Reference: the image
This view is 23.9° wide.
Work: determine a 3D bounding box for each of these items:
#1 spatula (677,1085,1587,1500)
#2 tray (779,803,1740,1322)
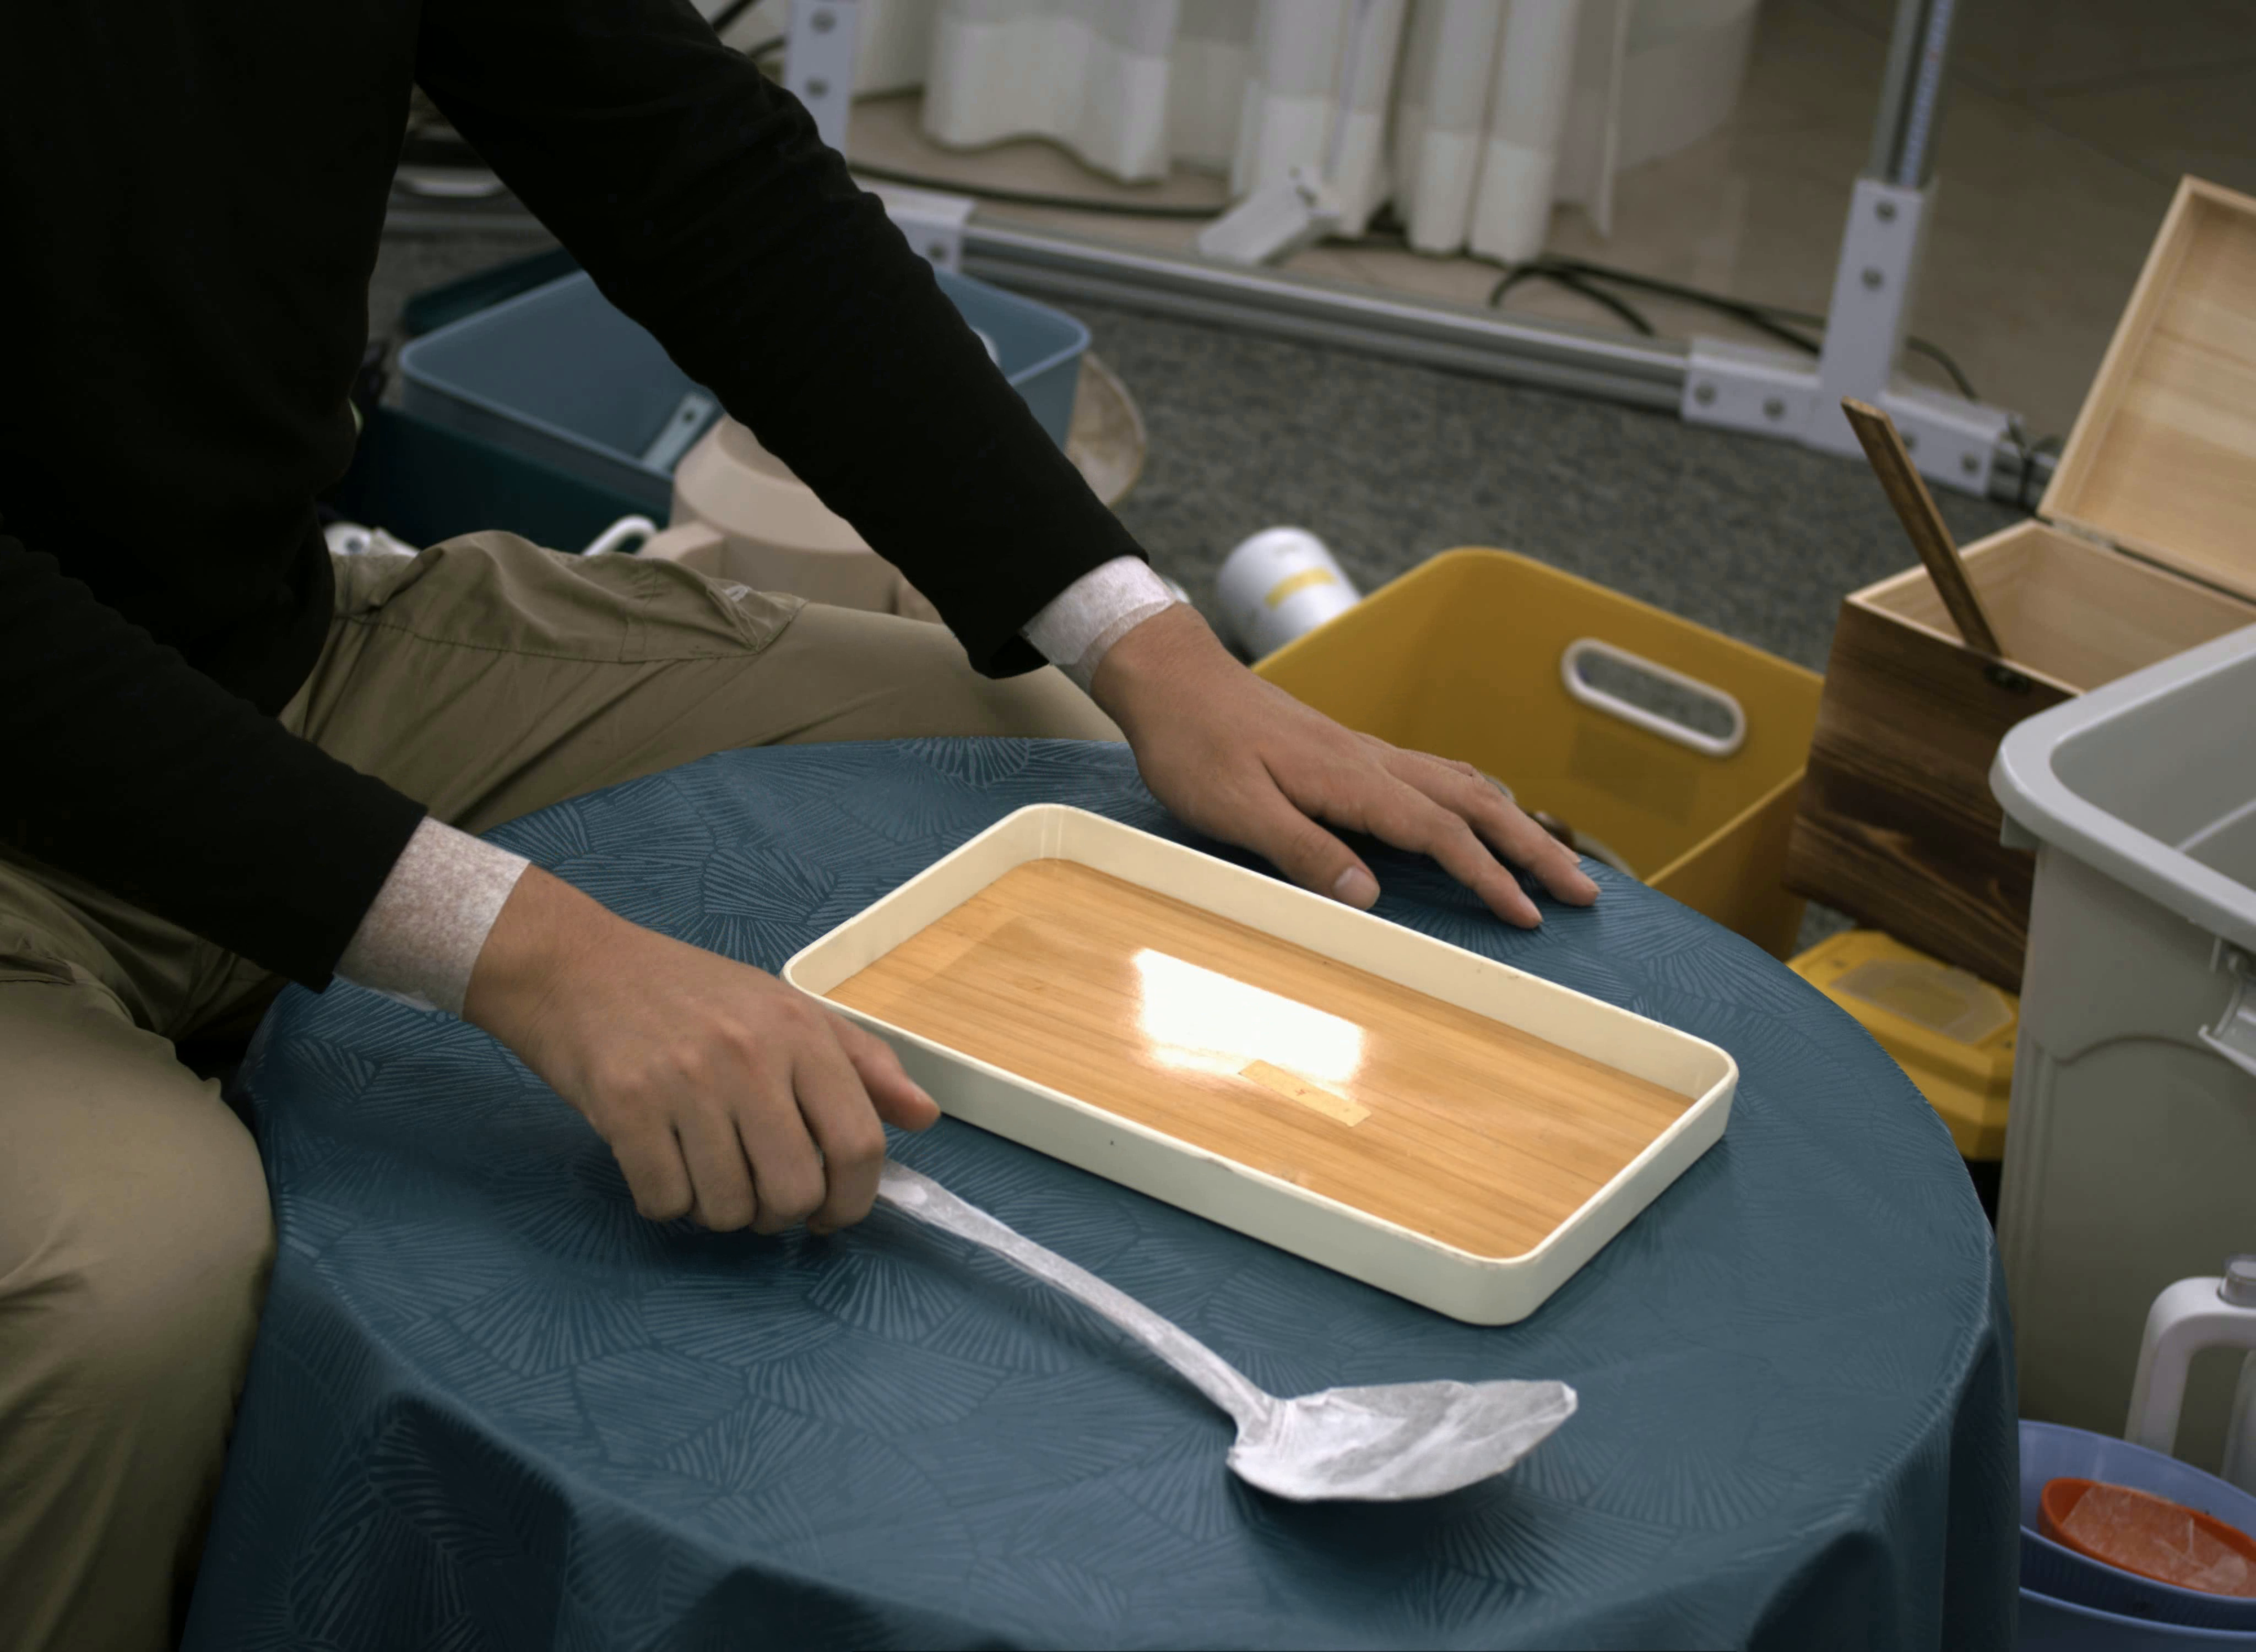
[{"bbox_3d":[-0.019,0.142,1.719,0.367,0.044,0.098,25,33,32],"label":"spatula"},{"bbox_3d":[0.046,0.078,1.871,0.302,0.027,0.191,20,30,26],"label":"tray"}]
